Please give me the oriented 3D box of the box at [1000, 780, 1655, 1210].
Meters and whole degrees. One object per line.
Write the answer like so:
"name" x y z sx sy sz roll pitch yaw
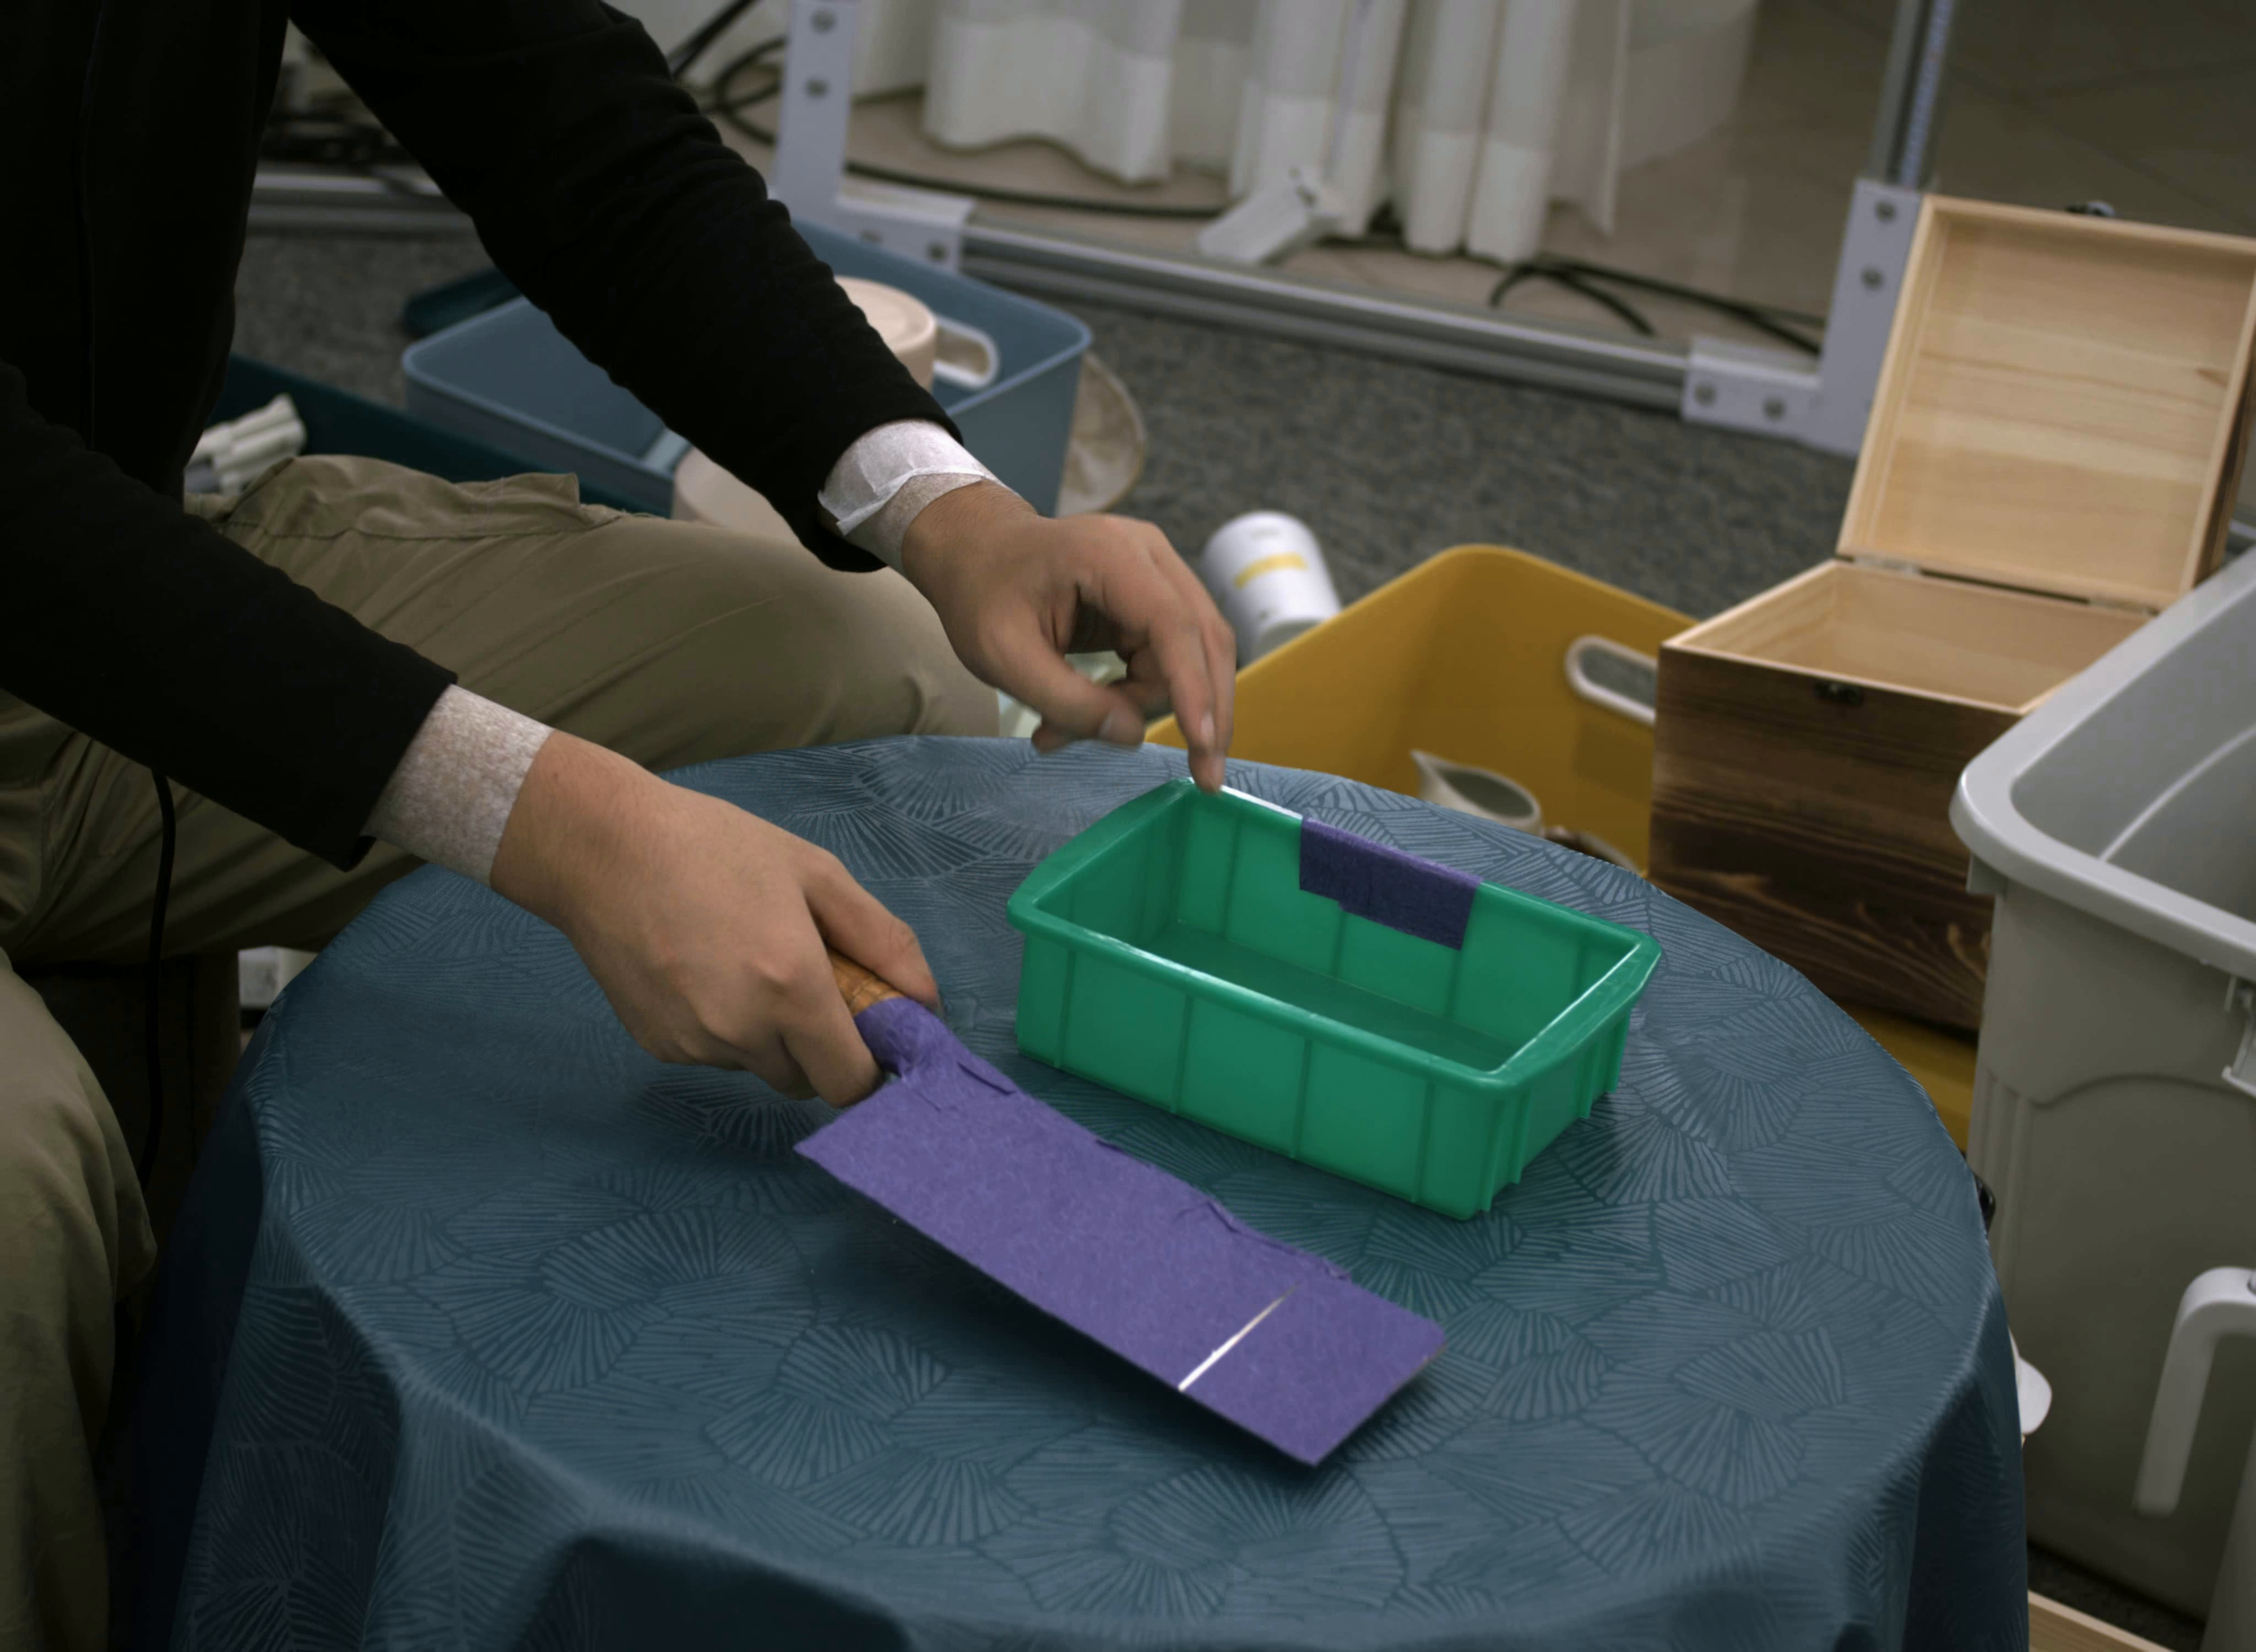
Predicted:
"box" 0.068 0.060 1.874 0.211 0.065 0.138 17 27 24

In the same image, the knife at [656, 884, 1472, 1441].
"knife" -0.041 0.107 1.736 0.317 0.032 0.103 27 32 24
